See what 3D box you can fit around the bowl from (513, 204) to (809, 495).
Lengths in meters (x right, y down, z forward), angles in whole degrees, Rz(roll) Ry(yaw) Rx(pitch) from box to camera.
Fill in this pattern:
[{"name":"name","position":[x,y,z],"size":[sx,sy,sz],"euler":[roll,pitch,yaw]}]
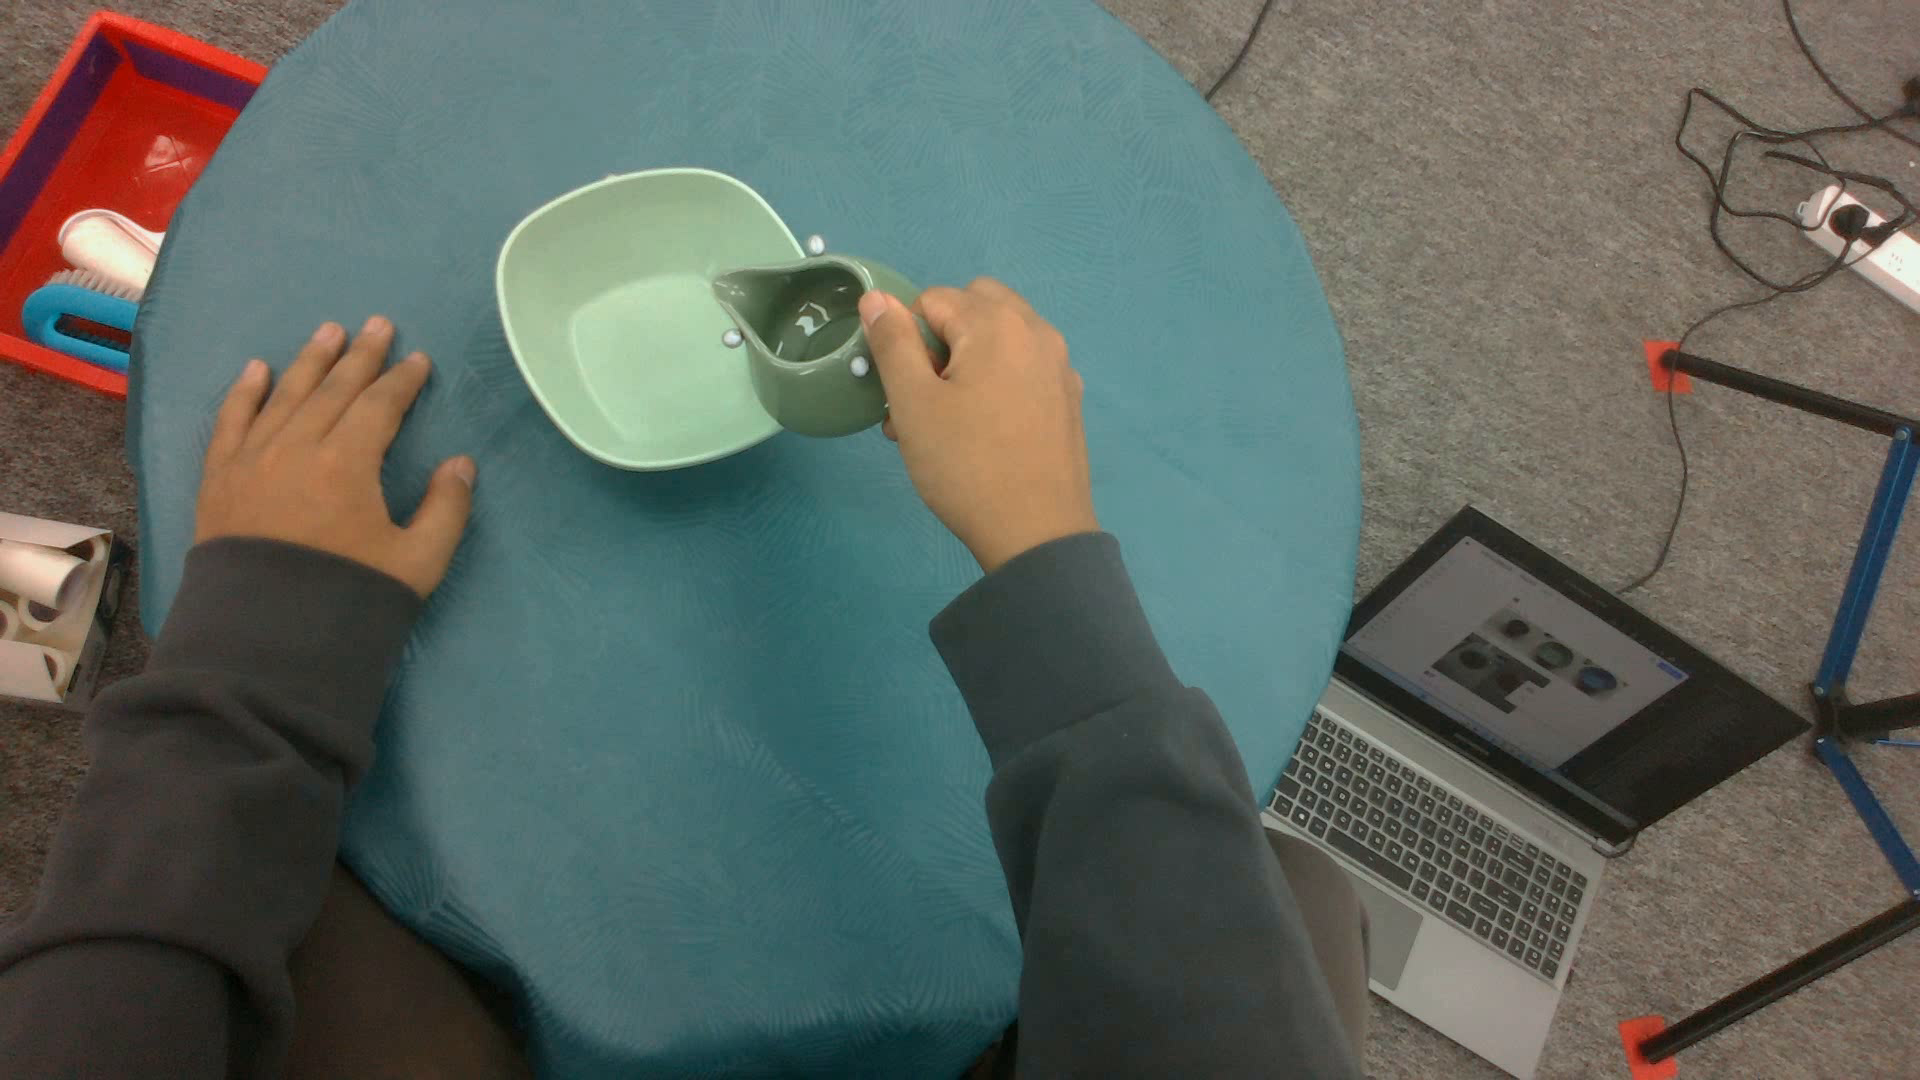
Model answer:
[{"name":"bowl","position":[-0.135,-0.083,0.657],"size":[0.151,0.058,0.152],"euler":[4,70,-13]}]

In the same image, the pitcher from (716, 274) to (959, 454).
[{"name":"pitcher","position":[-0.048,-0.080,0.599],"size":[0.112,0.056,0.084],"euler":[12,73,26]}]
